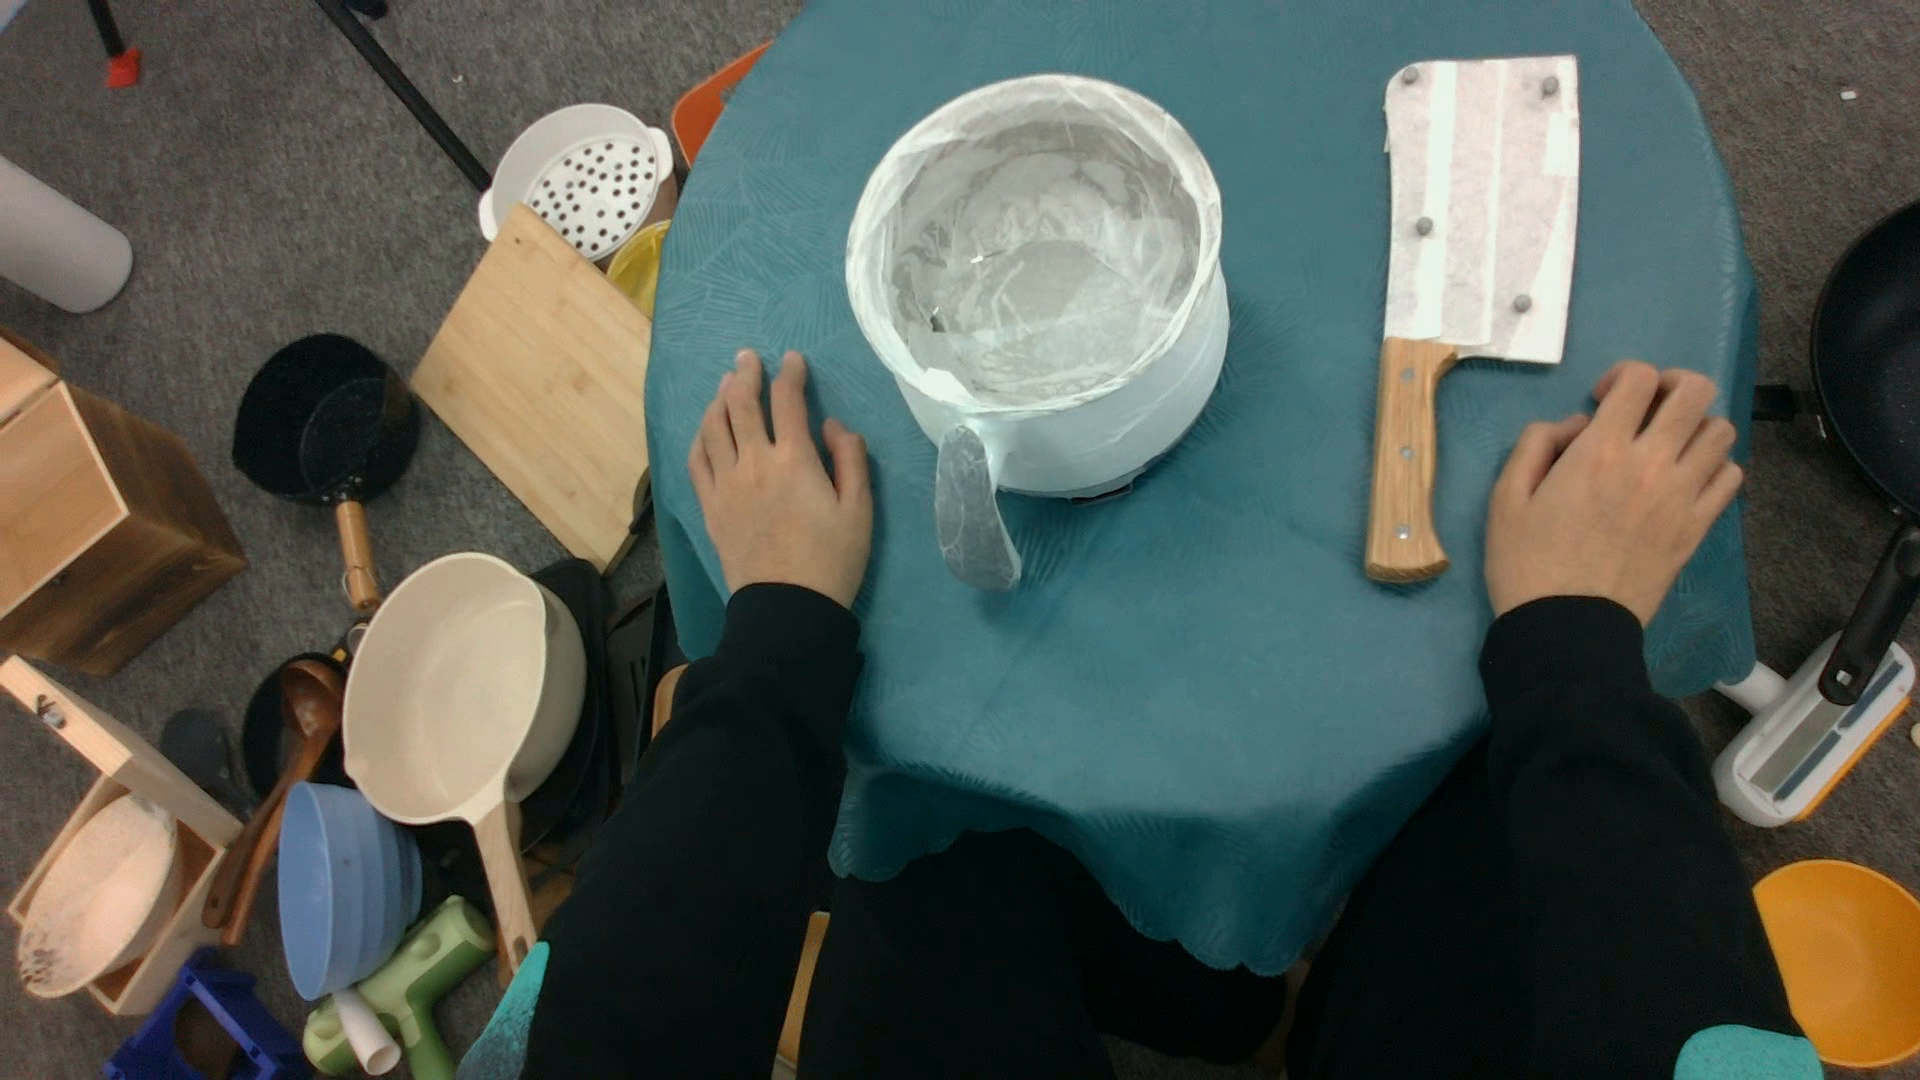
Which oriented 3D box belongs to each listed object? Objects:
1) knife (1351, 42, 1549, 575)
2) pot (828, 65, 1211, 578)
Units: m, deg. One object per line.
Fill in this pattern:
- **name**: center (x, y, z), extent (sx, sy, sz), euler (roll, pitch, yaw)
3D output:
- **knife**: center (0.246, -0.131, 0.717), extent (0.114, 0.021, 0.316), euler (9, 72, 15)
- **pot**: center (0.029, -0.101, 0.692), extent (0.178, 0.136, 0.234), euler (12, 75, 17)
